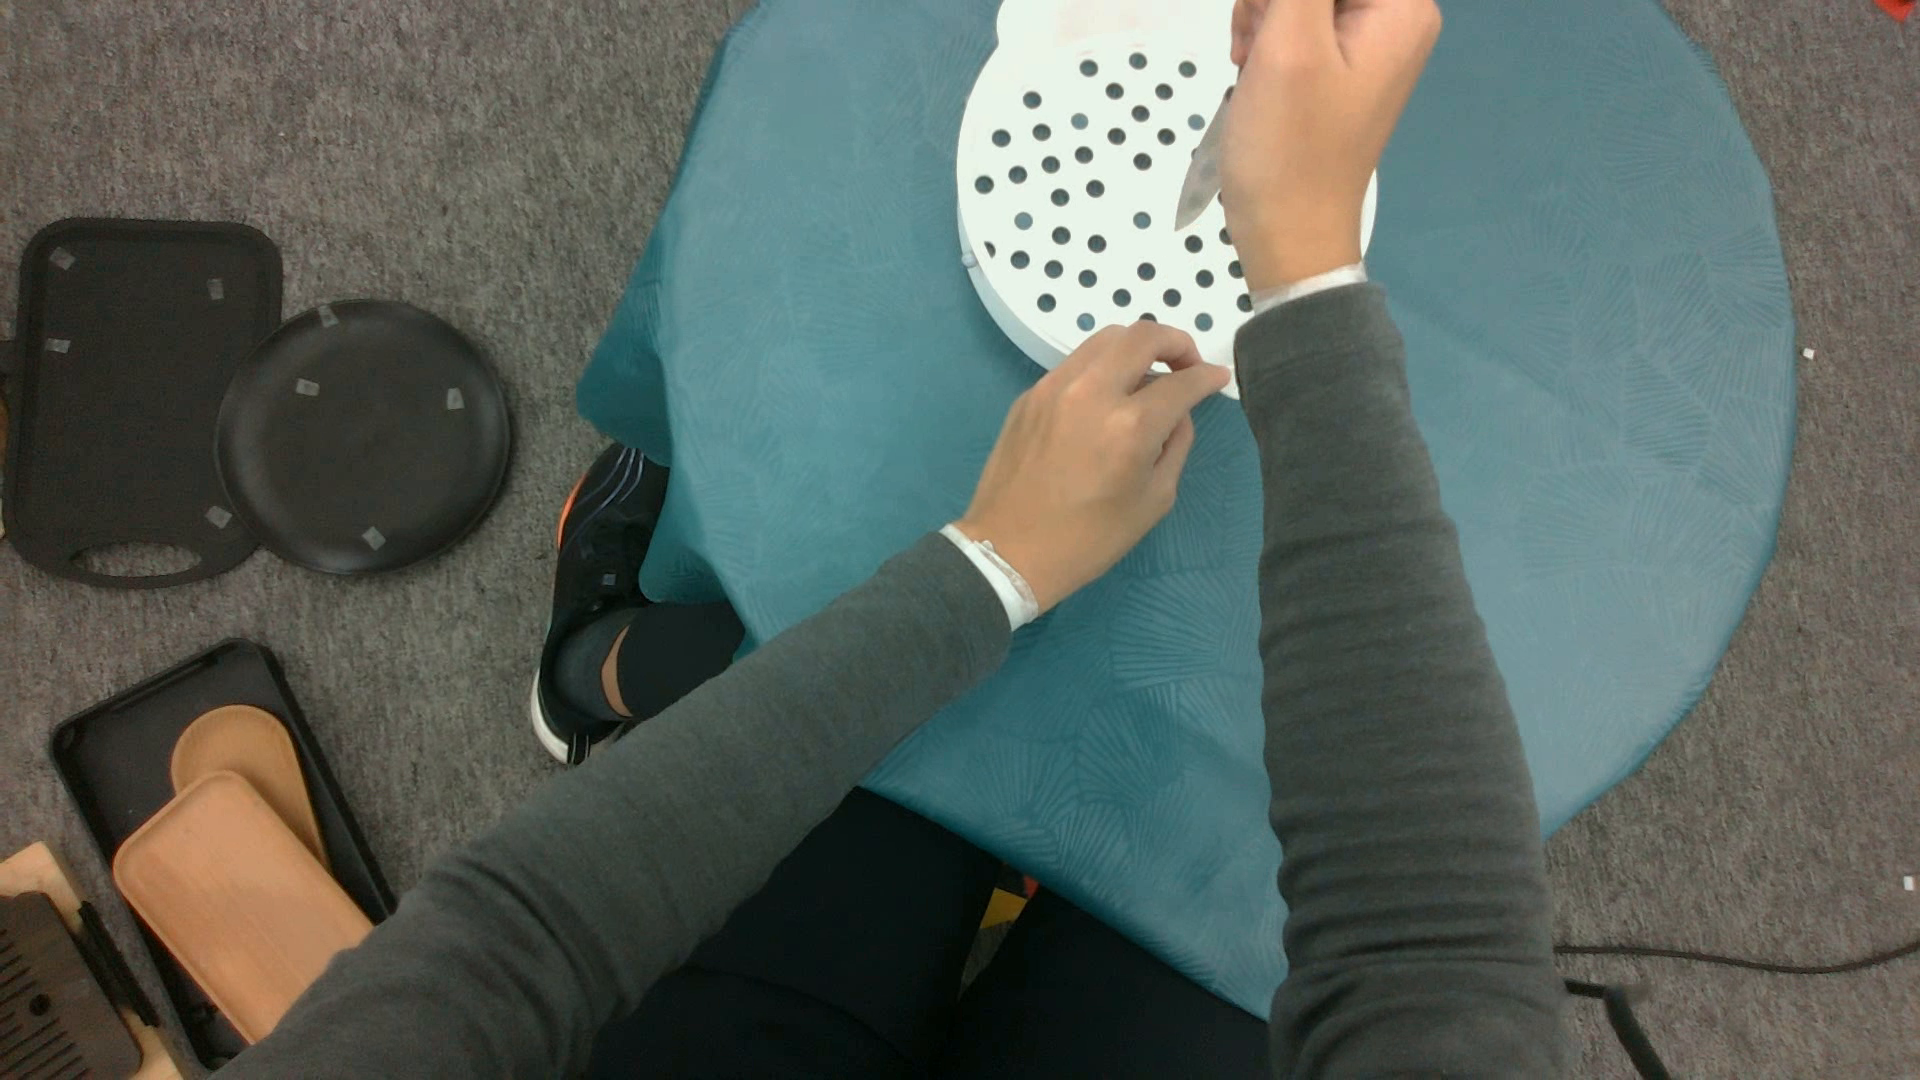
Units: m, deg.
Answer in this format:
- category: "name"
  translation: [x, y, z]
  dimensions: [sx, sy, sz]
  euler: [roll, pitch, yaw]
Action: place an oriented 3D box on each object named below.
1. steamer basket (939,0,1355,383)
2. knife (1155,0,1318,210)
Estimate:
- category: "steamer basket"
  translation: [0.088, -0.179, 0.682]
  dimensions: [0.202, 0.069, 0.230]
  euler: [-30, 87, -8]
- category: "knife"
  translation: [0.109, -0.179, 0.561]
  dimensions: [0.016, 0.237, 0.024]
  euler: [-20, 84, -8]
